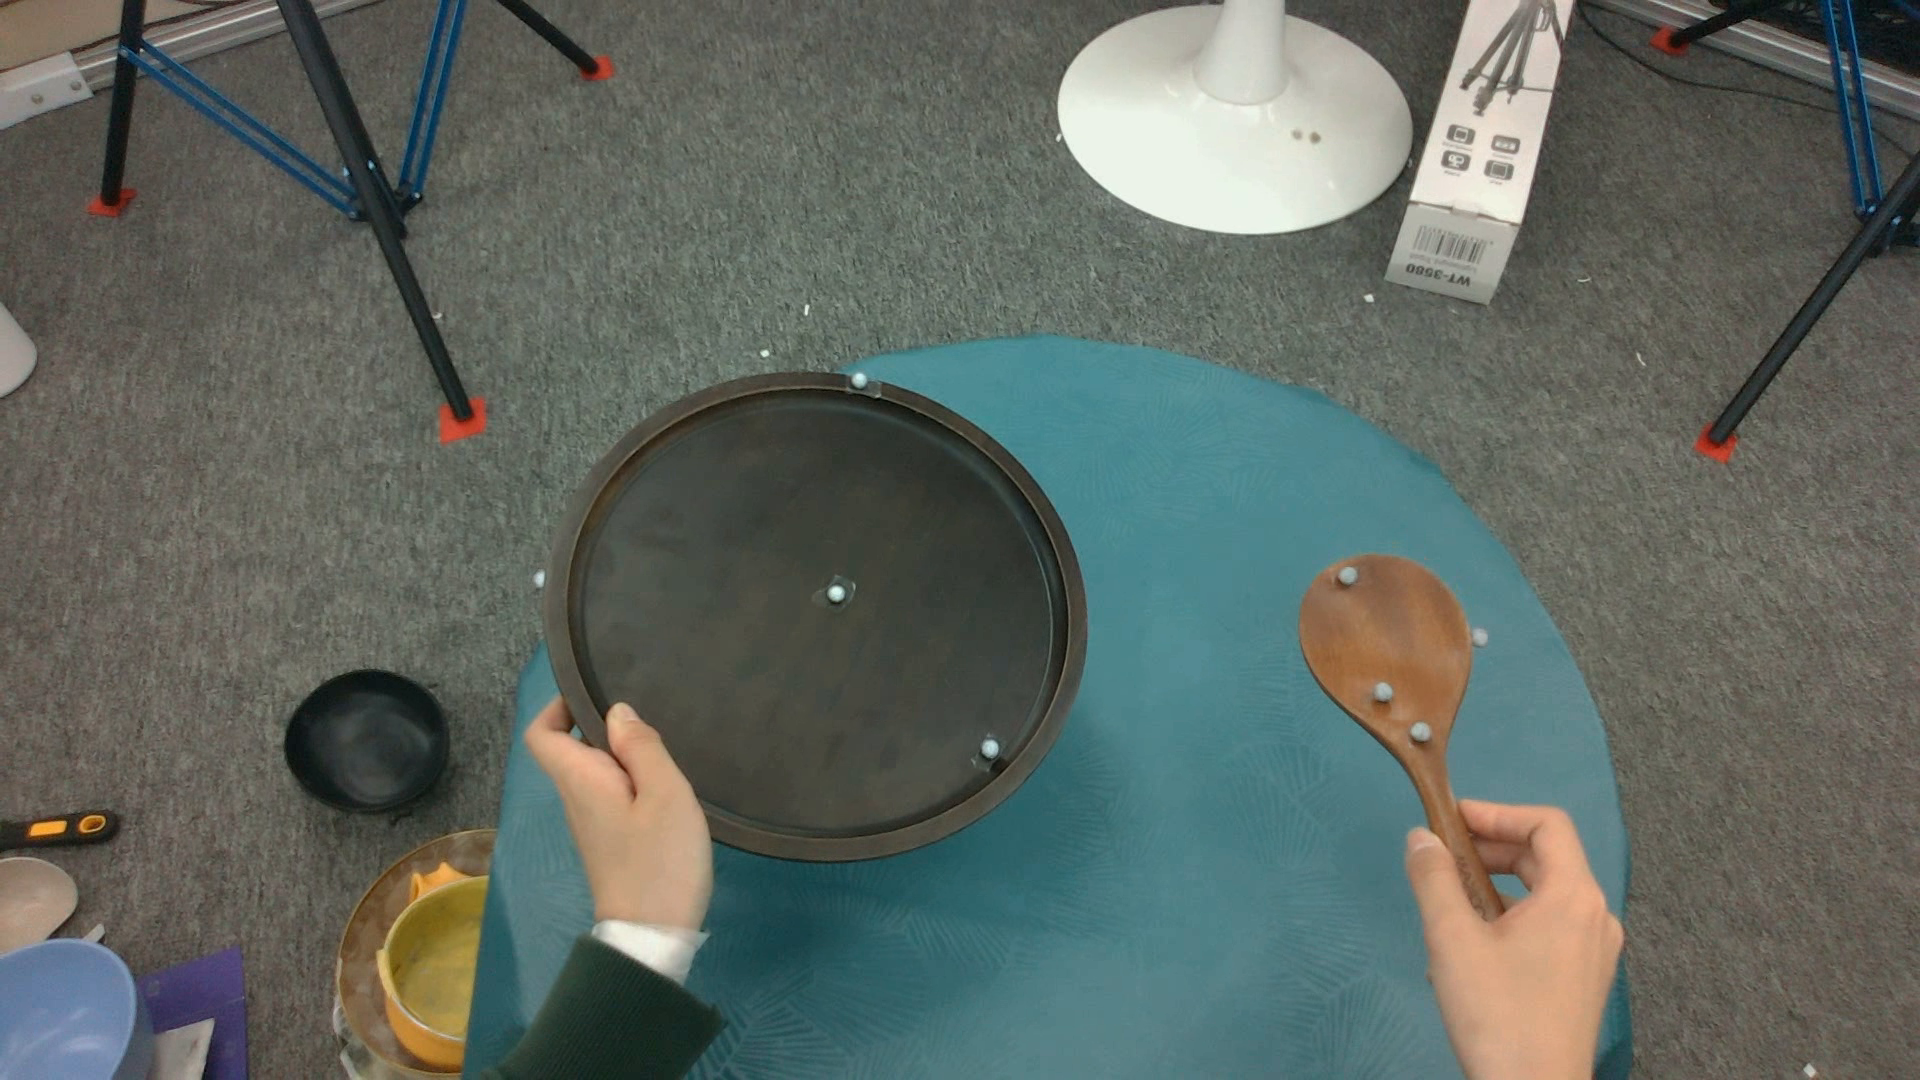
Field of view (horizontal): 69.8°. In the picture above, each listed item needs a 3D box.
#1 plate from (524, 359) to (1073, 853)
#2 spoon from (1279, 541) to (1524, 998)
[{"bbox_3d":[-0.072,0.024,0.648,0.255,0.029,0.256,6,59,-9],"label":"plate"},{"bbox_3d":[0.192,0.089,0.590,0.075,0.017,0.217,-11,51,3],"label":"spoon"}]
